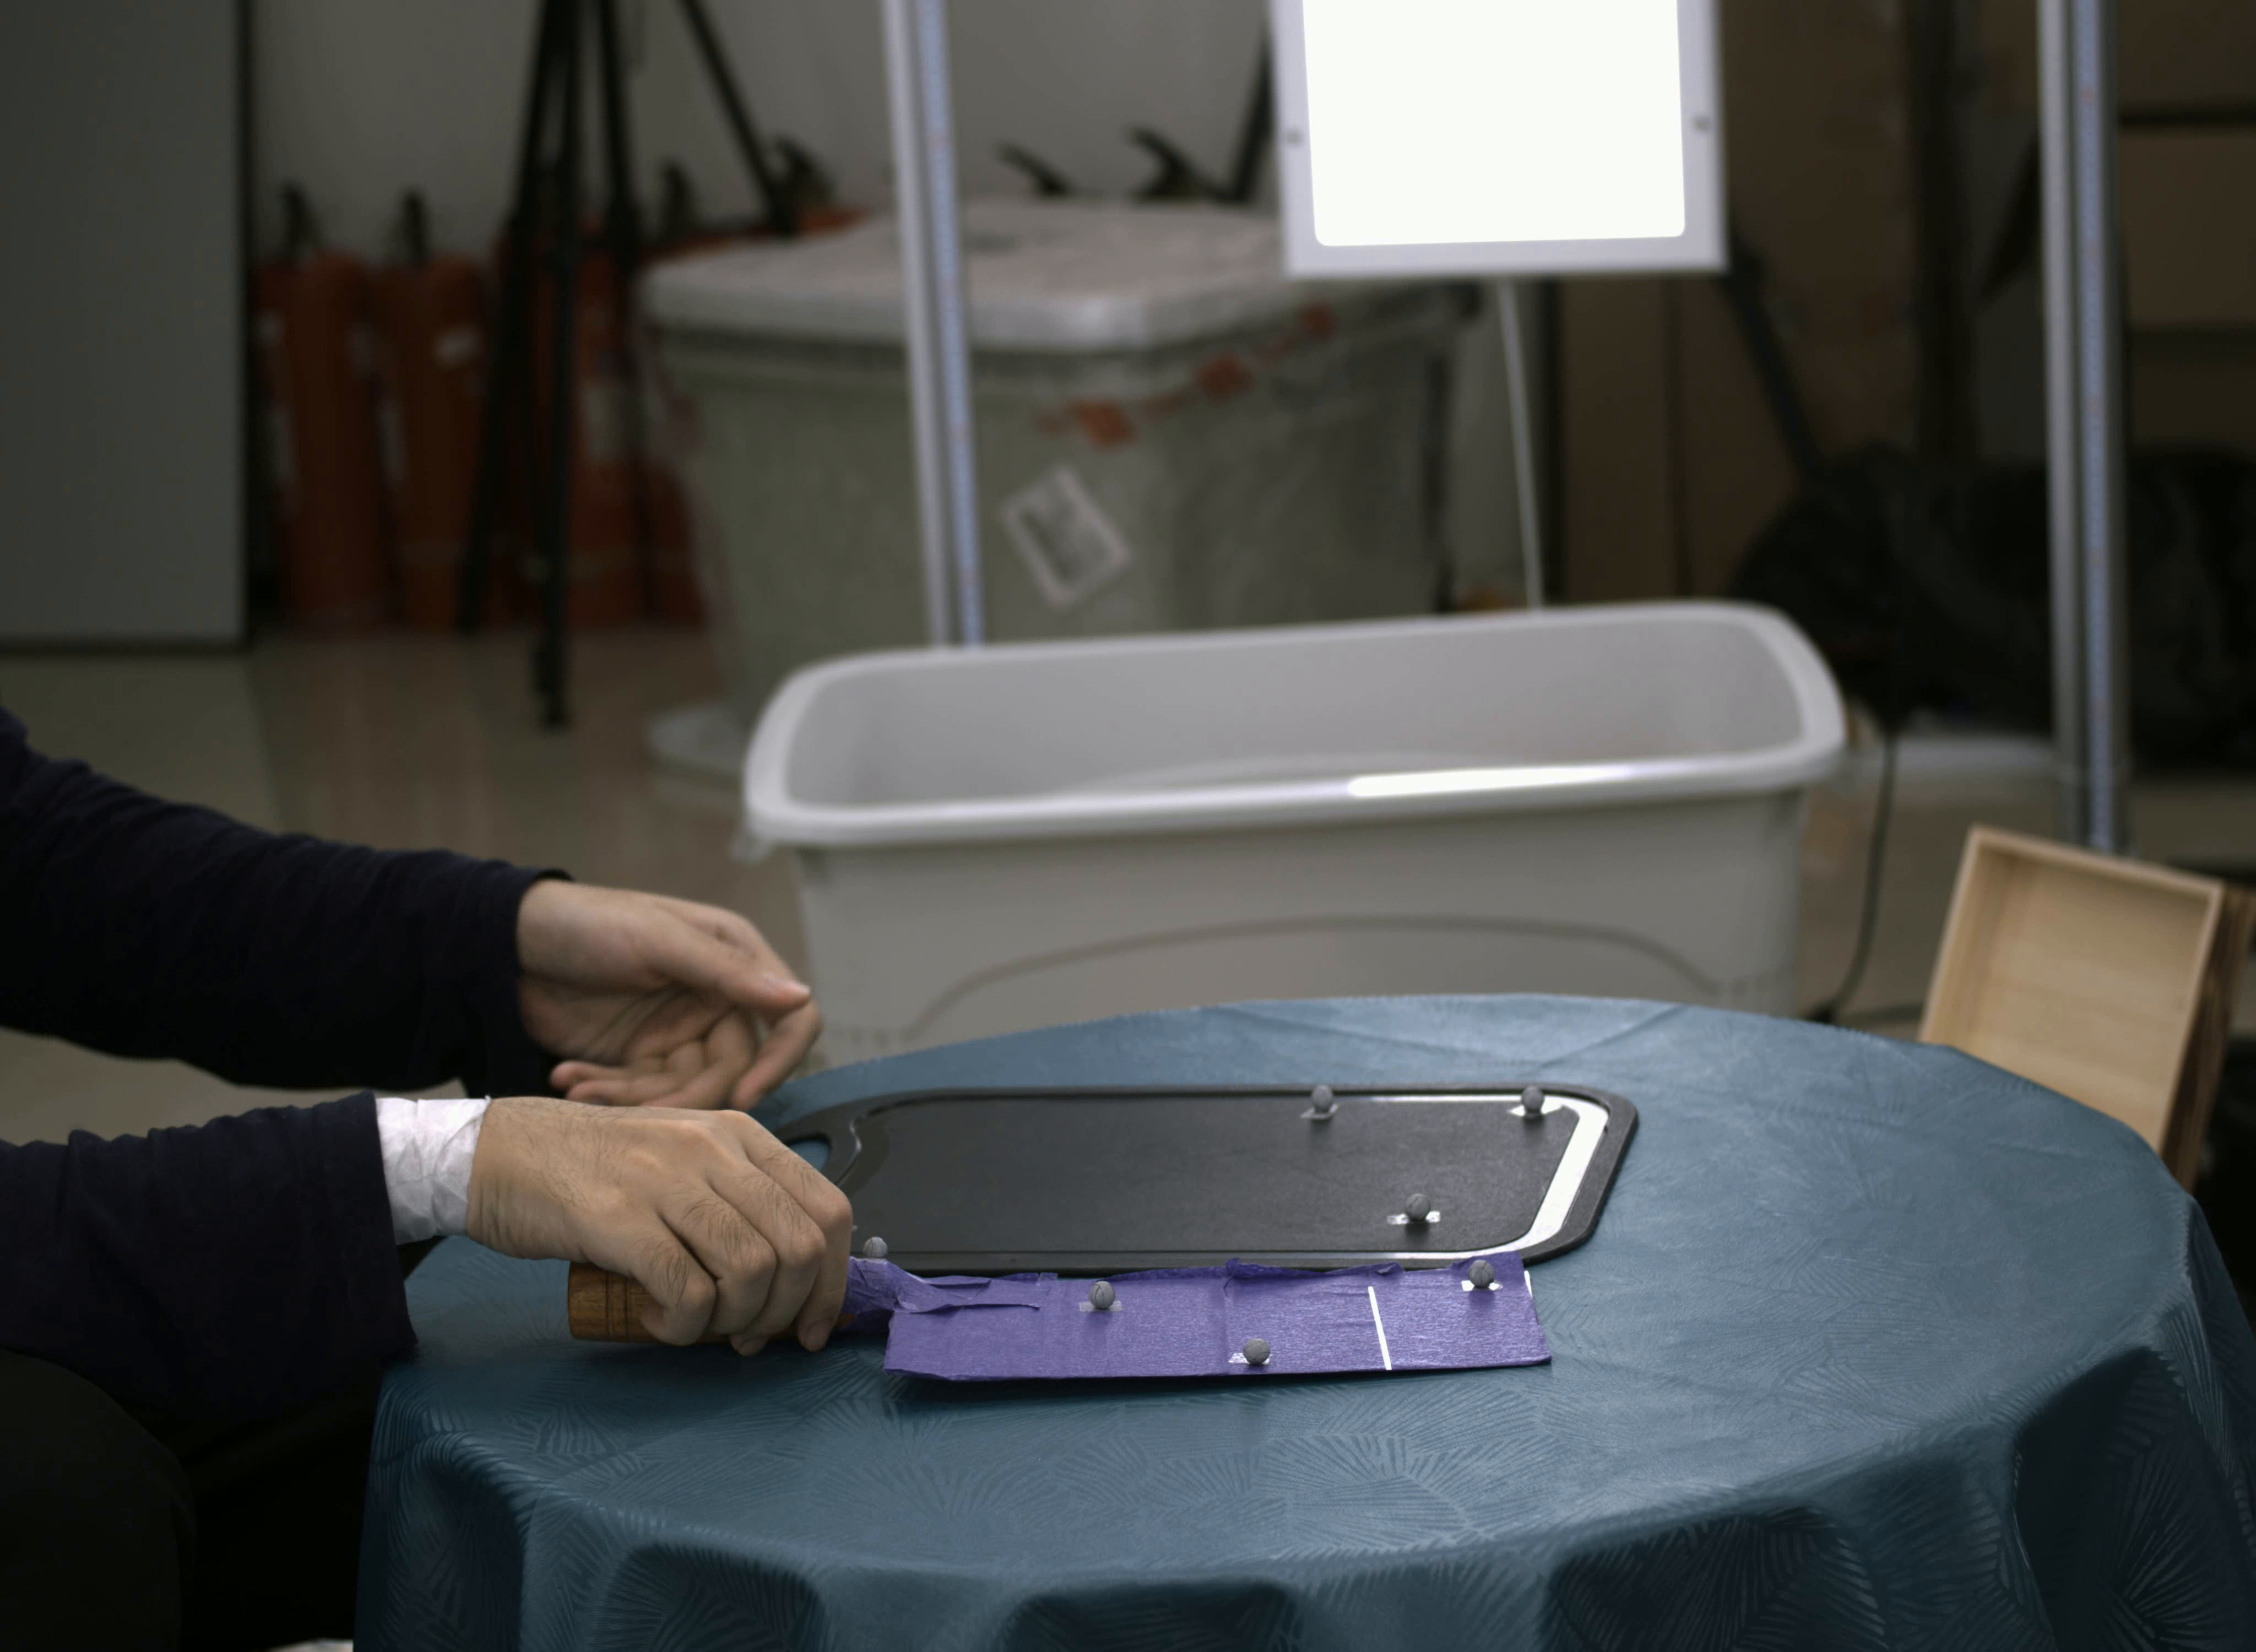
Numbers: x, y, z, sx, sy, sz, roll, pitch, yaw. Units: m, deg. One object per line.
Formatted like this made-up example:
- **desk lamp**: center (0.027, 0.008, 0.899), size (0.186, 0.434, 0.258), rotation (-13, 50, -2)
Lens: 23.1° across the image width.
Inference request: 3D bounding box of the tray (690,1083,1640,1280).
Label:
- **tray**: center (0.009, 0.120, 1.912), size (0.328, 0.010, 0.208), rotation (-2, 14, 15)

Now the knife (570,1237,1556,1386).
- **knife**: center (-0.023, 0.154, 1.744), size (0.315, 0.032, 0.103), rotation (-4, 13, 3)
